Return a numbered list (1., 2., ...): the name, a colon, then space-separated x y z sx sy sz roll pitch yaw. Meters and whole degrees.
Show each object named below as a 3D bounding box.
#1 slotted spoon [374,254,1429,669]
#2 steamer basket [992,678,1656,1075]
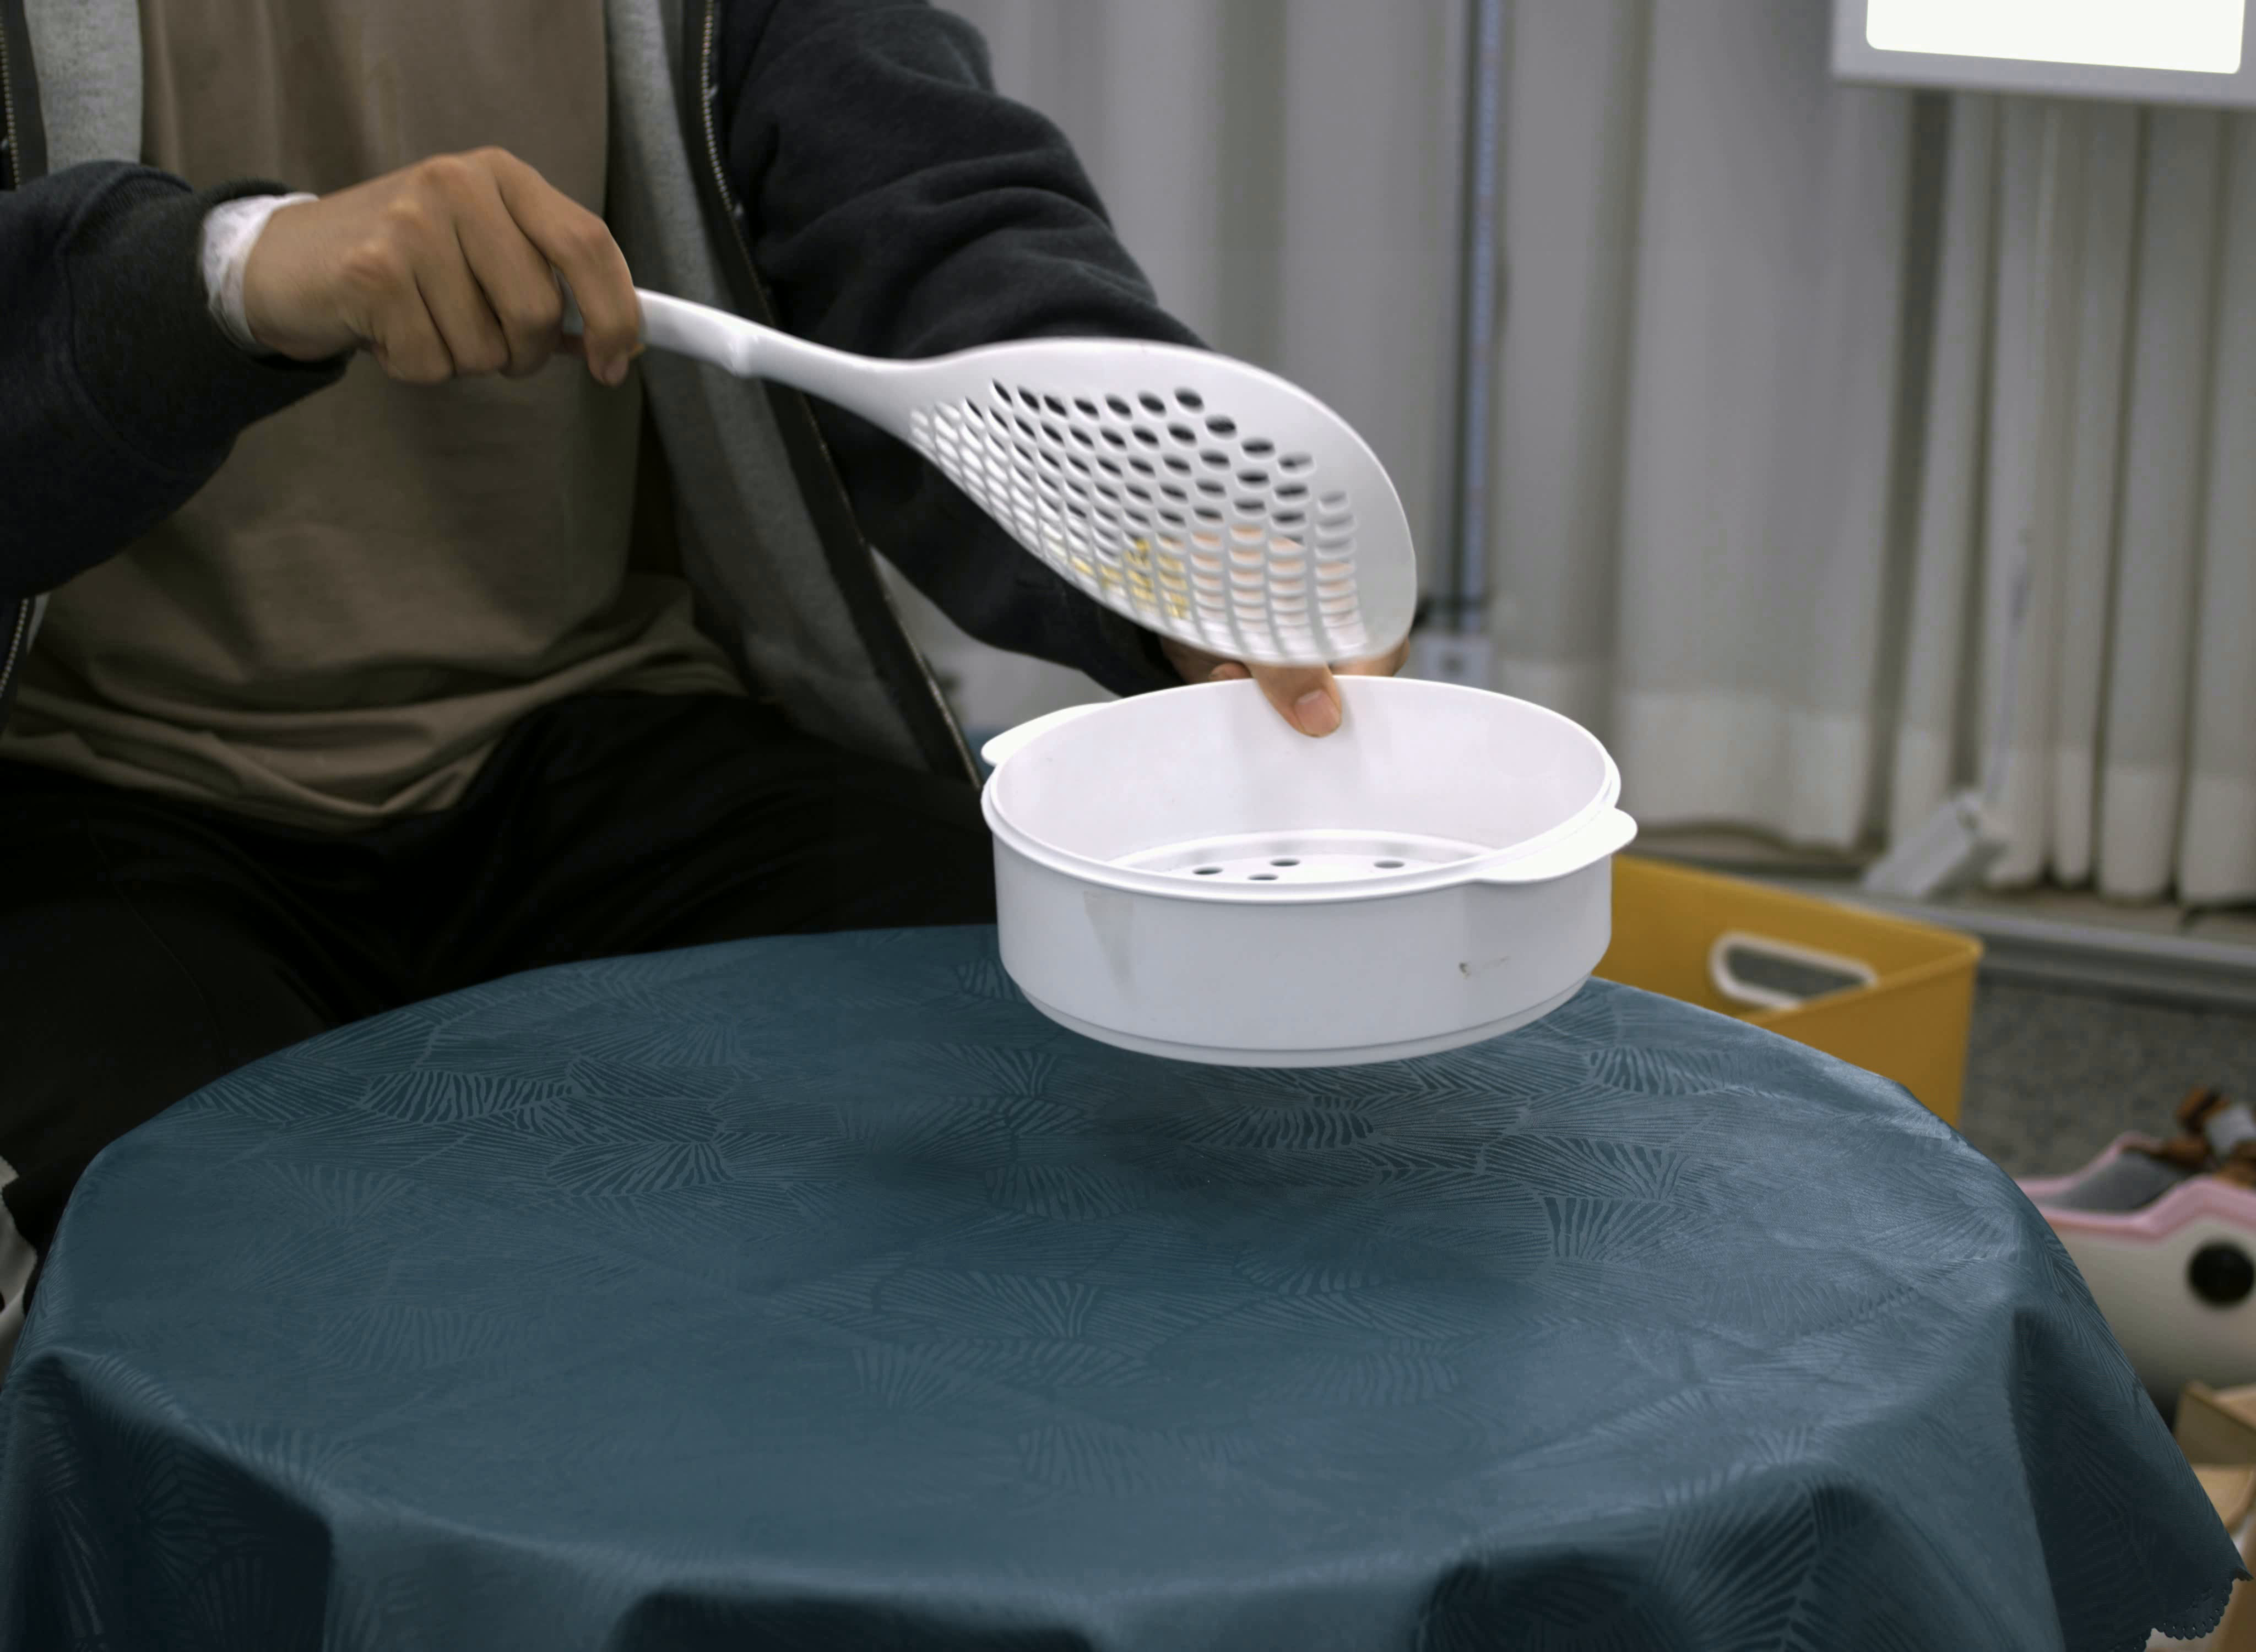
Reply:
1. slotted spoon: -0.072 -0.123 1.605 0.344 0.138 0.050 23 61 18
2. steamer basket: 0.059 0.015 1.654 0.227 0.070 0.202 16 26 35
